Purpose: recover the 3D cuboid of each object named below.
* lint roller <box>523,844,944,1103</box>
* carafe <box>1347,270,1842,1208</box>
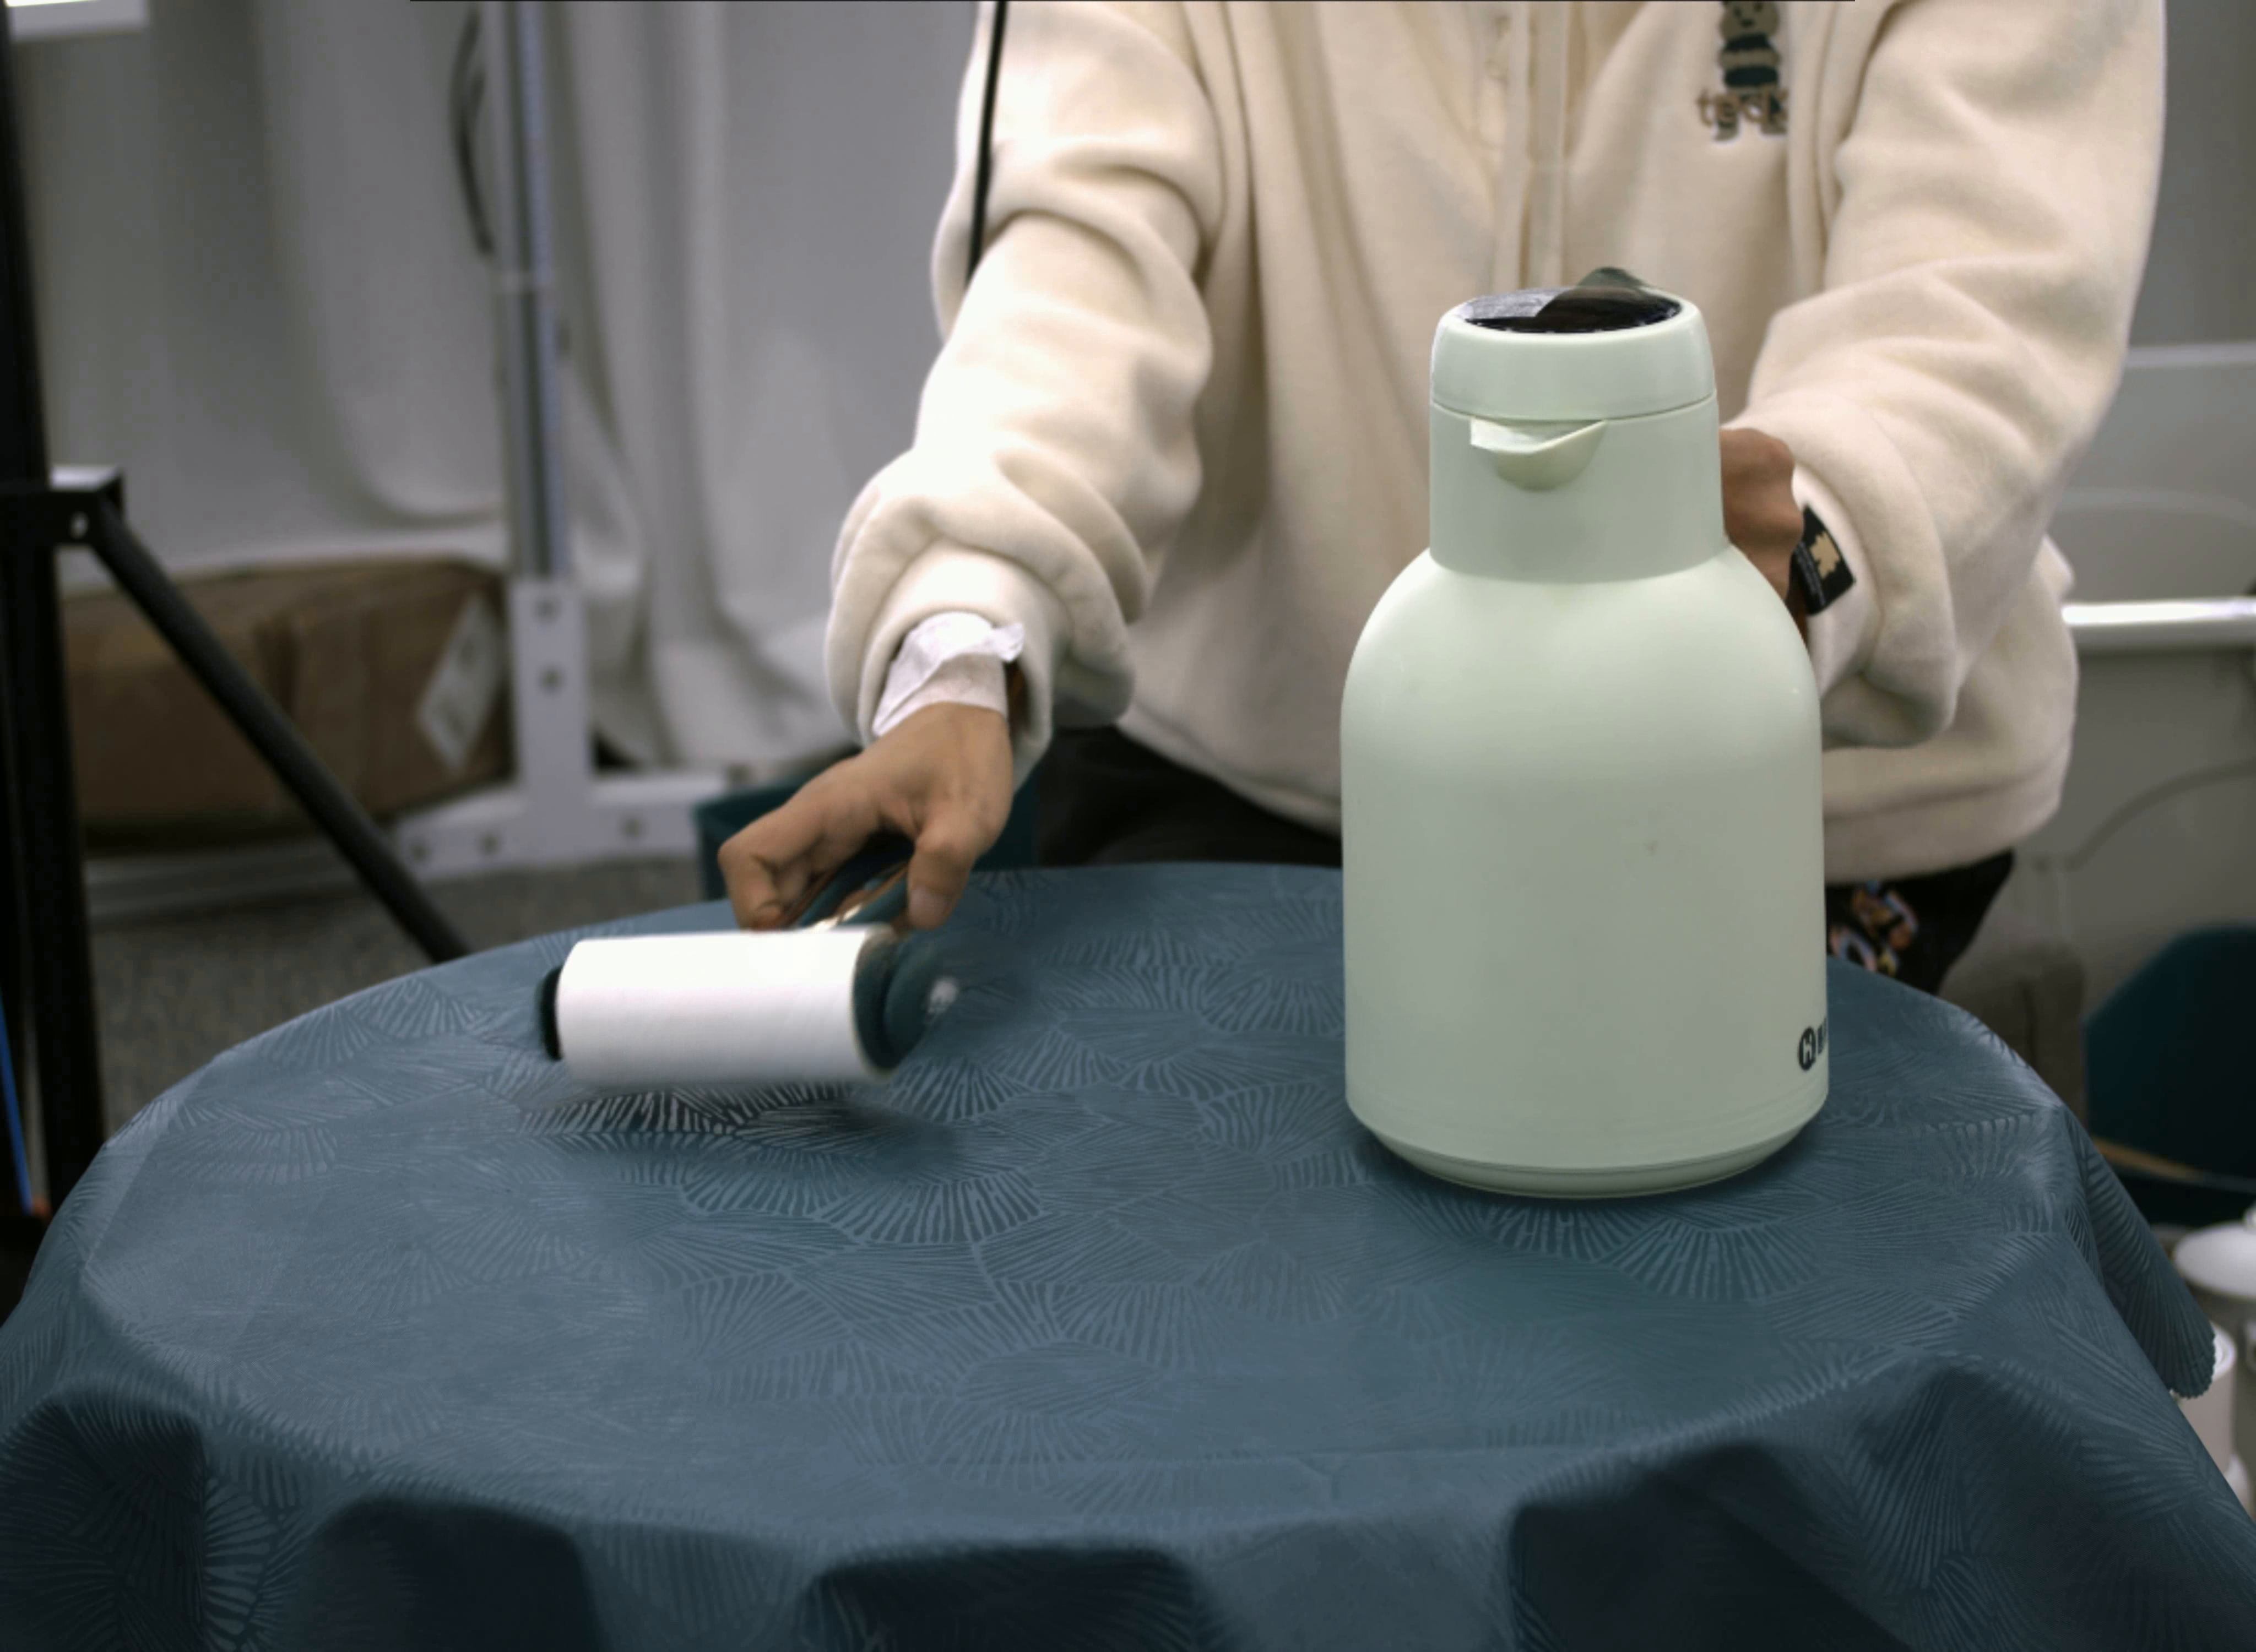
[{"bbox_3d":[-0.101,0.030,1.686,0.136,0.048,0.179,0,27,23],"label":"lint roller"},{"bbox_3d":[0.139,-0.030,1.565,0.146,0.257,0.184,2,12,21],"label":"carafe"}]
